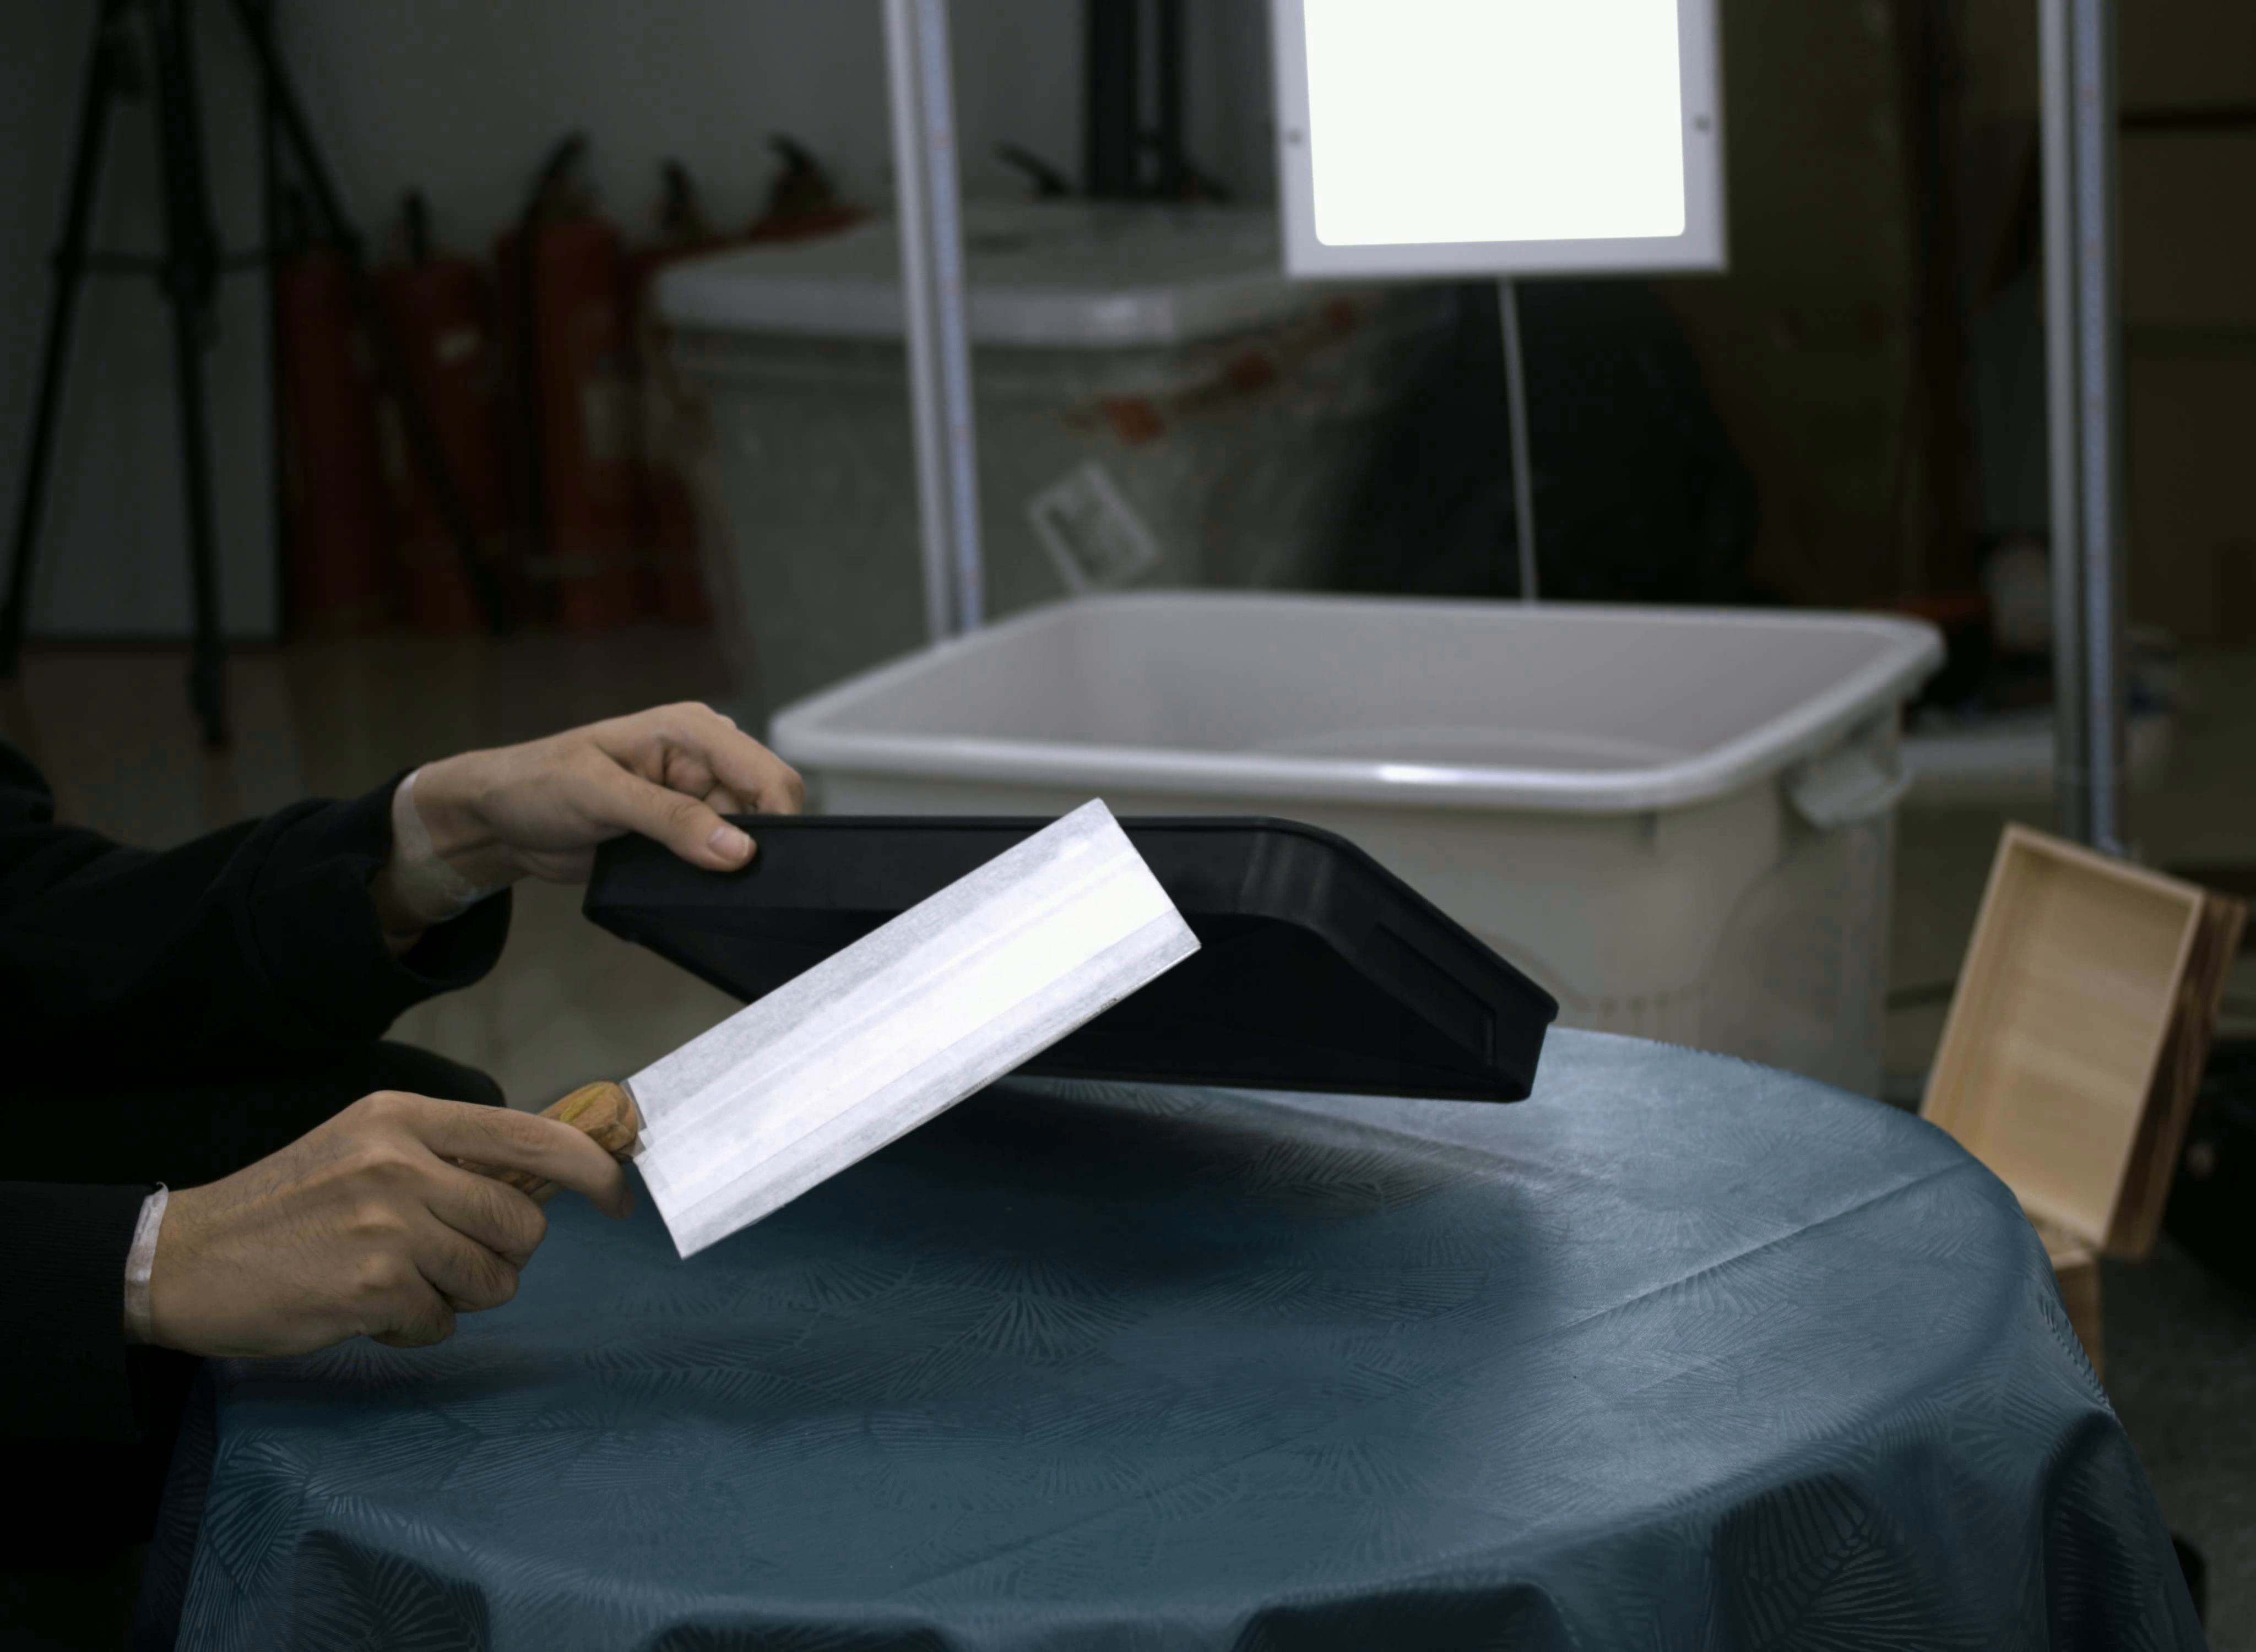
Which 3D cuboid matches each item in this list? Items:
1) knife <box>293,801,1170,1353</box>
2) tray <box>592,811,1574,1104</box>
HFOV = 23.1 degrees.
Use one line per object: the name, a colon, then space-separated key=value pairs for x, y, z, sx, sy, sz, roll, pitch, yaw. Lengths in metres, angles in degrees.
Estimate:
knife: x=-0.123 y=0.091 z=1.746 sx=0.305 sy=0.021 sz=0.094 roll=-31 pitch=40 yaw=0
tray: x=-0.019 y=0.045 z=1.922 sx=0.324 sy=0.037 sz=0.181 roll=1 pitch=-22 yaw=35
